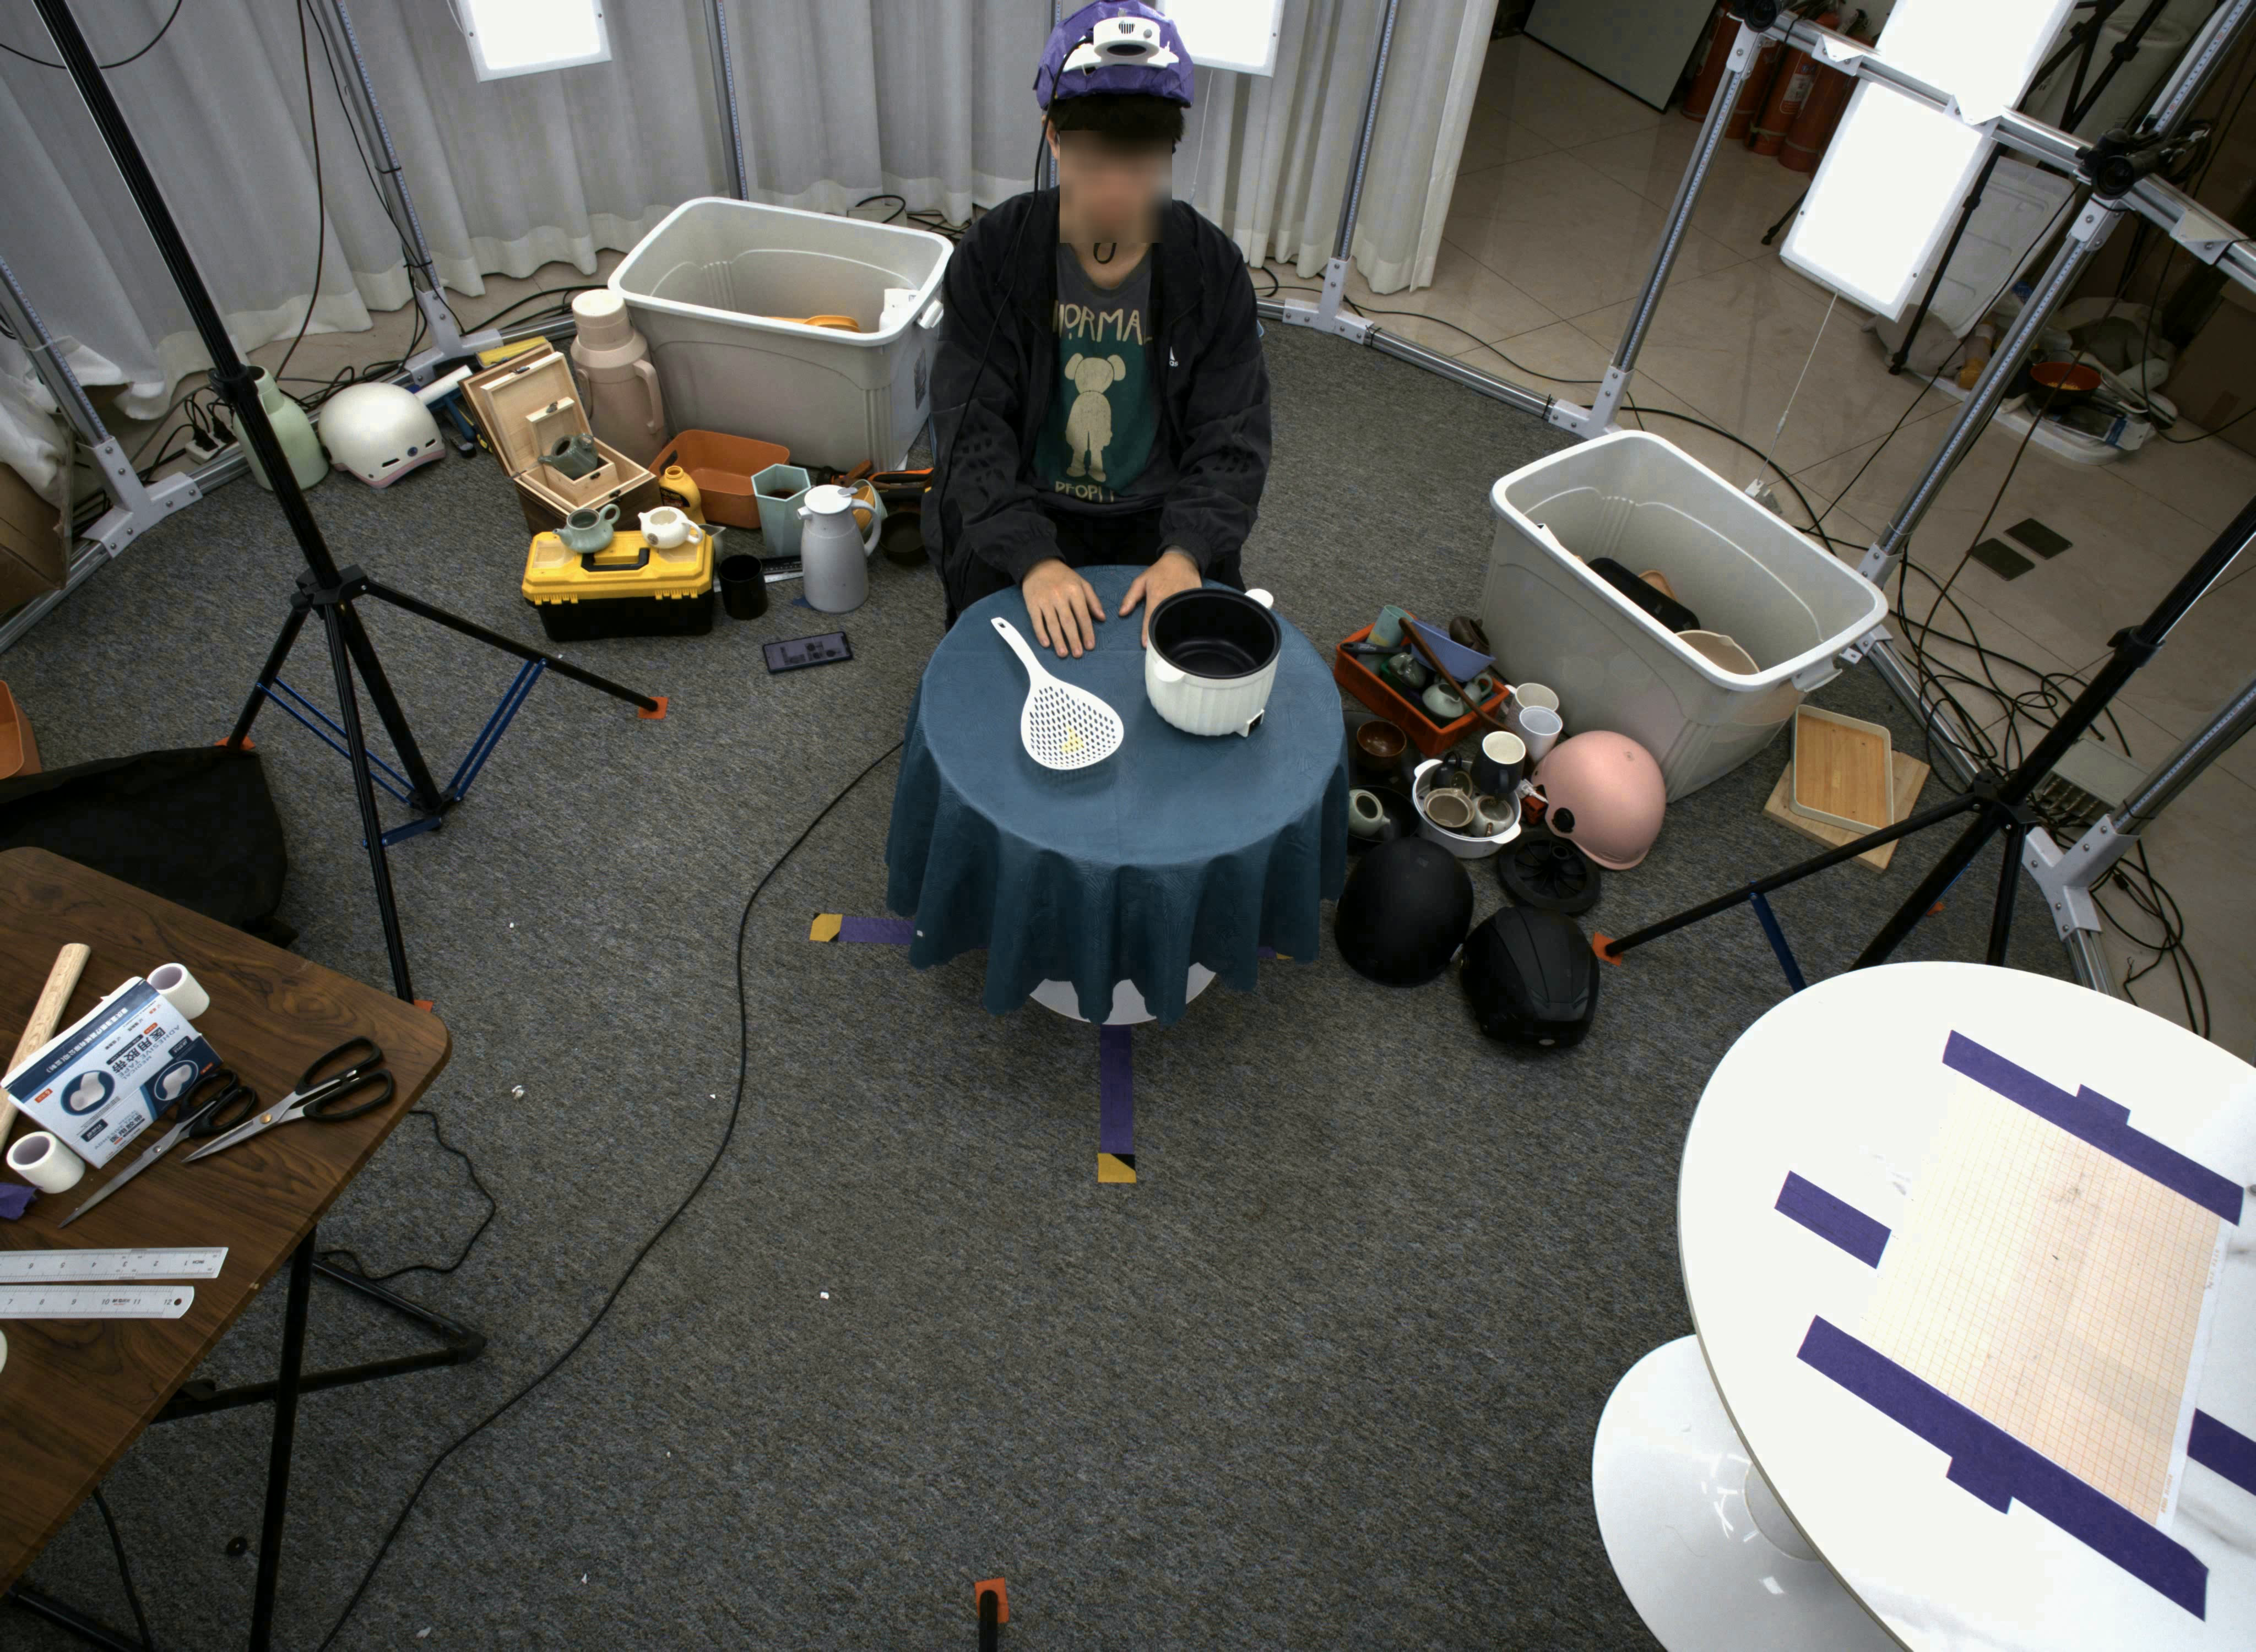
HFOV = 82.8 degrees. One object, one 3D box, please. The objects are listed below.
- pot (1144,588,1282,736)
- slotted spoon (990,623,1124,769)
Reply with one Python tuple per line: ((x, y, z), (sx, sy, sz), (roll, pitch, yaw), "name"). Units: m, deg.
((0.108, -0.222, 1.777), (0.193, 0.139, 0.243), (35, 54, 21), "pot")
((-0.120, -0.195, 1.801), (0.137, 0.049, 0.356), (-22, 53, -12), "slotted spoon")
